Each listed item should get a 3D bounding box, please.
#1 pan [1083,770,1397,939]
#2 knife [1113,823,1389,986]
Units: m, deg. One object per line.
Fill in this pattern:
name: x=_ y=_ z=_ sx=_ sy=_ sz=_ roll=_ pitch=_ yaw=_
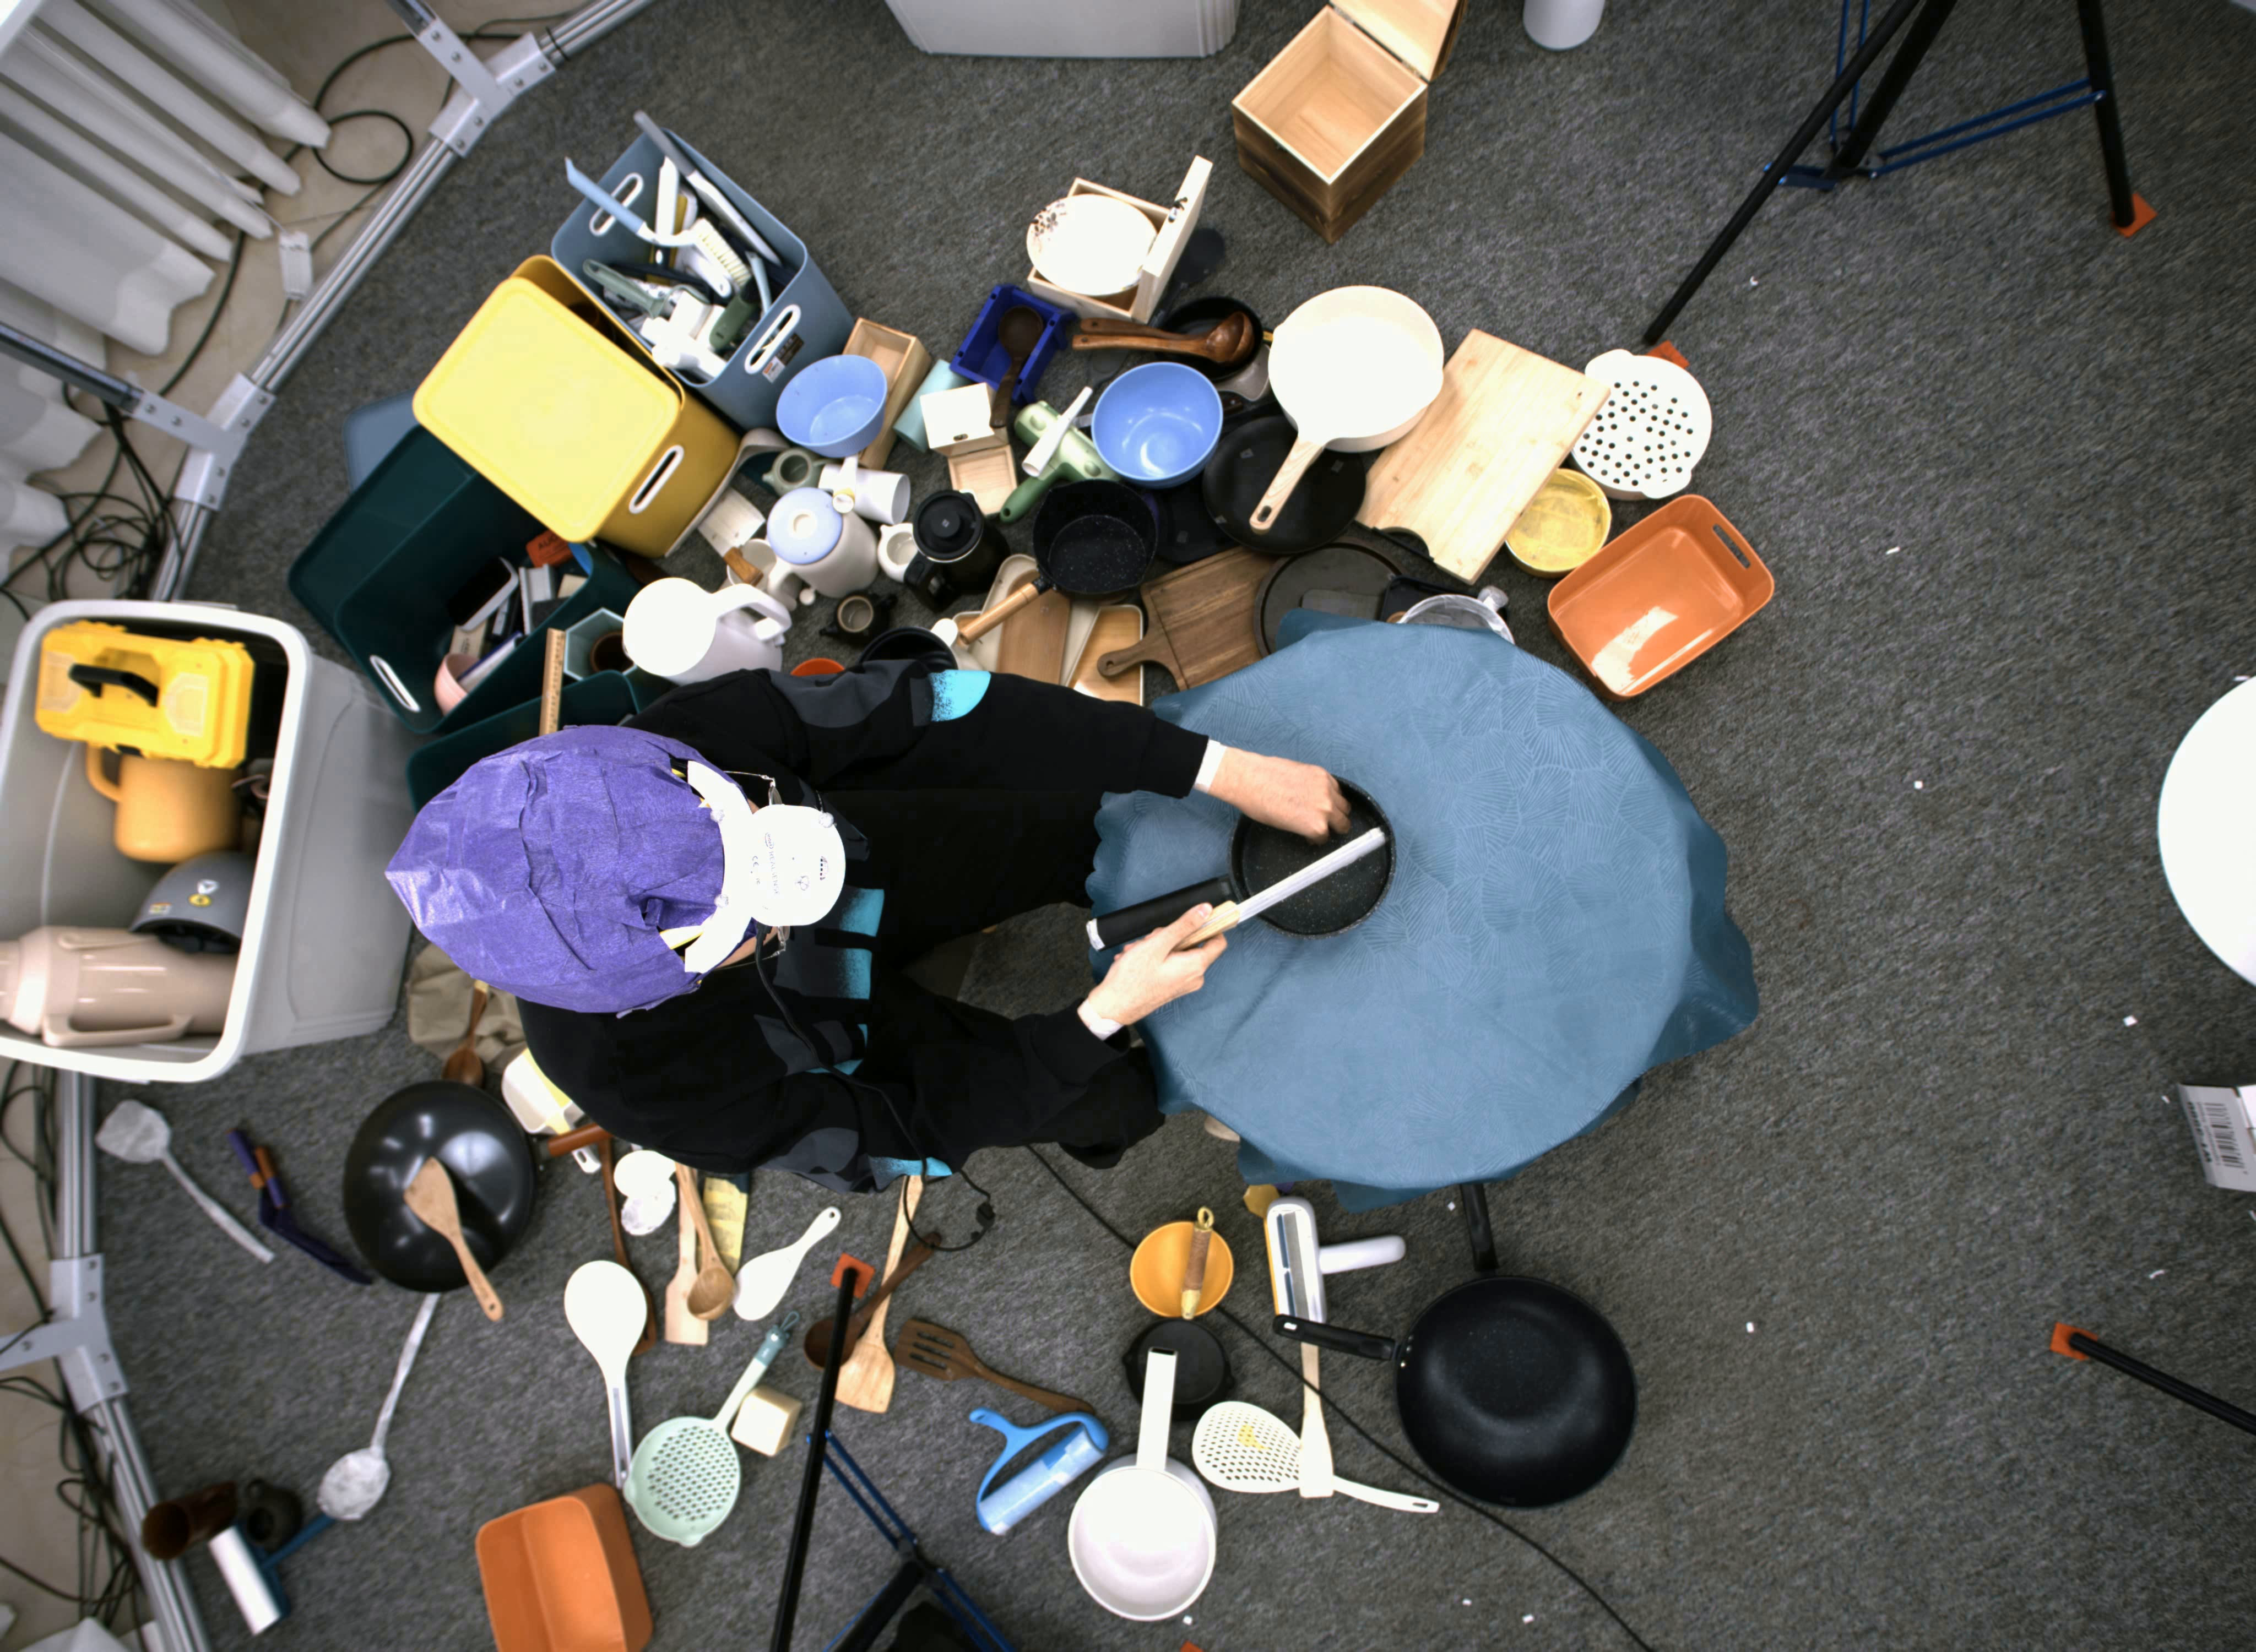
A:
pan: x=0.117 y=0.057 z=1.447 sx=0.330 sy=0.086 sz=0.170 roll=-18 pitch=81 yaw=8
knife: x=0.127 y=0.074 z=1.355 sx=0.314 sy=0.115 sz=0.021 roll=-28 pitch=75 yaw=-6
